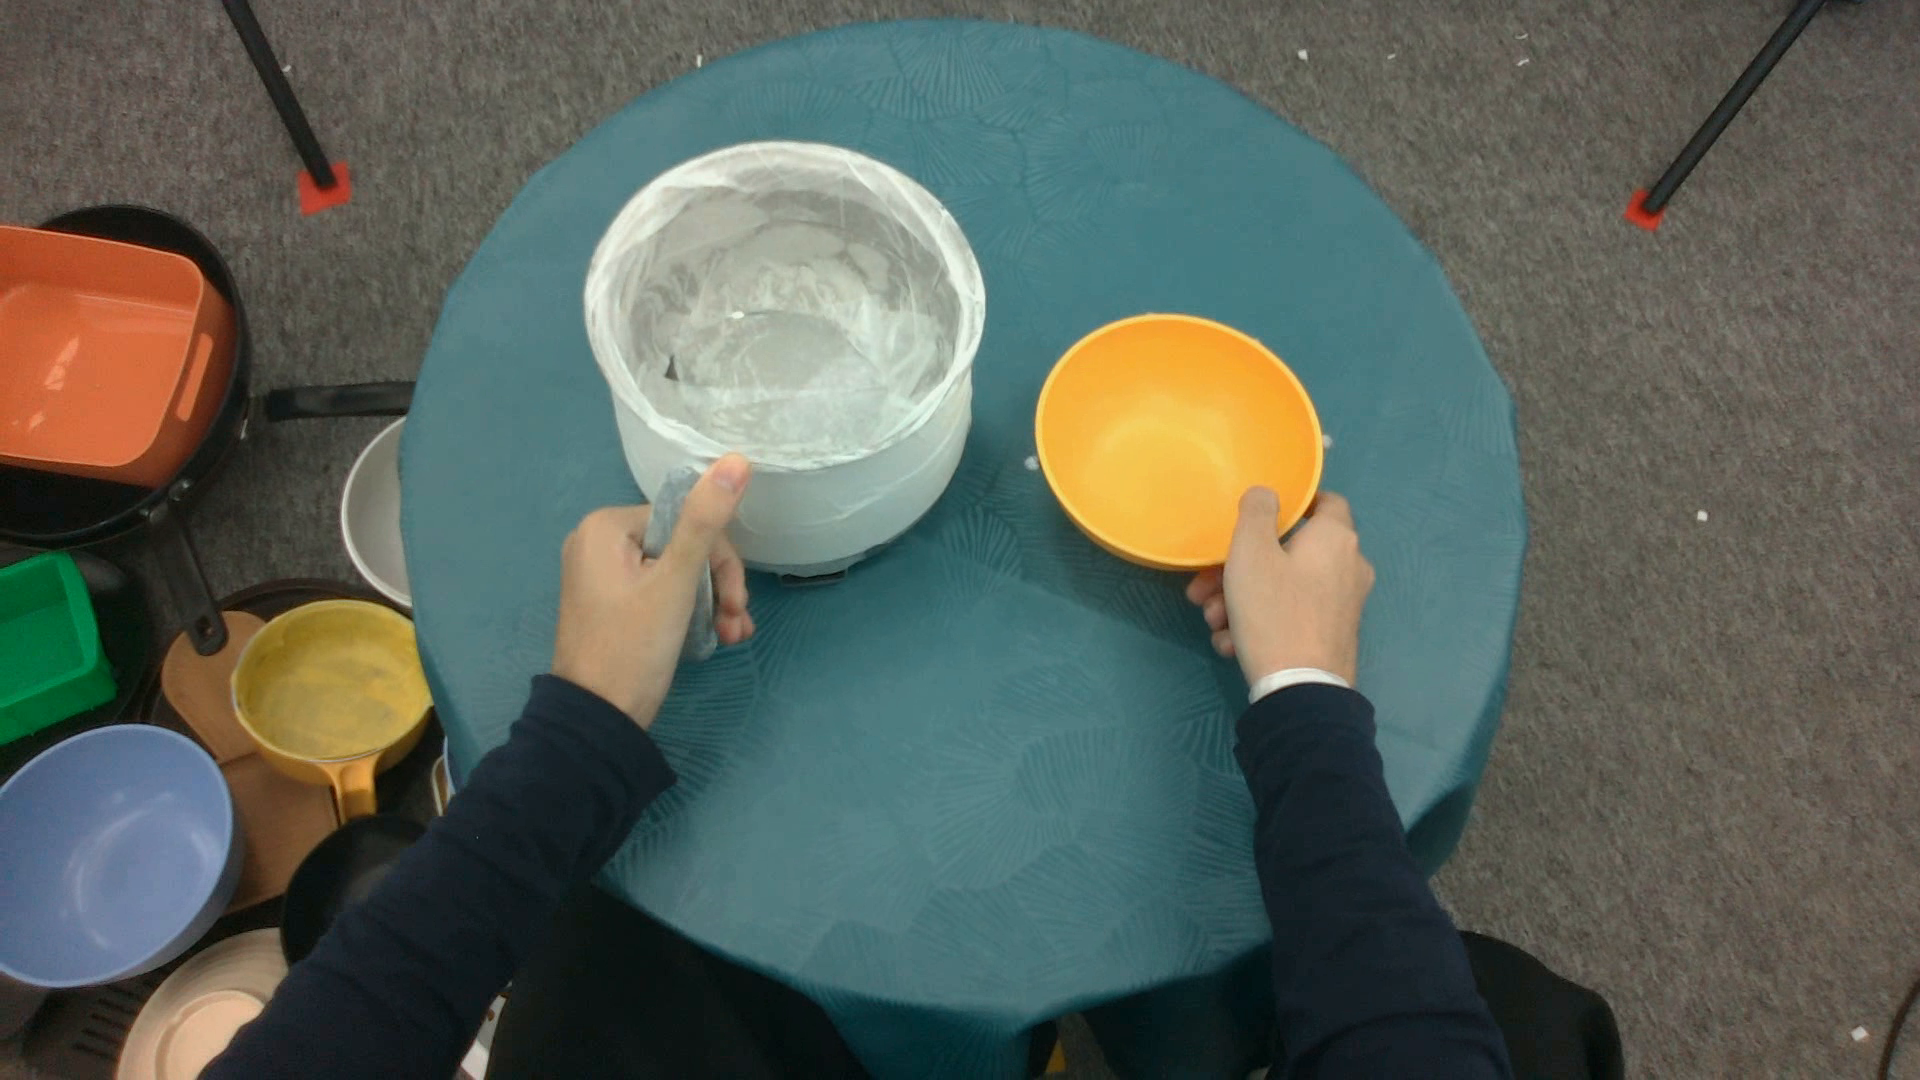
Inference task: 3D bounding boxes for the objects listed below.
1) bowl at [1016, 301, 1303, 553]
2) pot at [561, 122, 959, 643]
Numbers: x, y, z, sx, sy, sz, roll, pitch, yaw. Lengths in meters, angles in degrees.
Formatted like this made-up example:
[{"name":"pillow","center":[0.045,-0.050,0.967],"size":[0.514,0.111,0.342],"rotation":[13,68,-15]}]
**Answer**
[{"name":"bowl","center":[0.098,-0.049,0.712],"size":[0.145,0.060,0.146],"rotation":[2,63,-4]},{"name":"pot","center":[-0.101,-0.068,0.660],"size":[0.178,0.136,0.234],"rotation":[19,64,6]}]
